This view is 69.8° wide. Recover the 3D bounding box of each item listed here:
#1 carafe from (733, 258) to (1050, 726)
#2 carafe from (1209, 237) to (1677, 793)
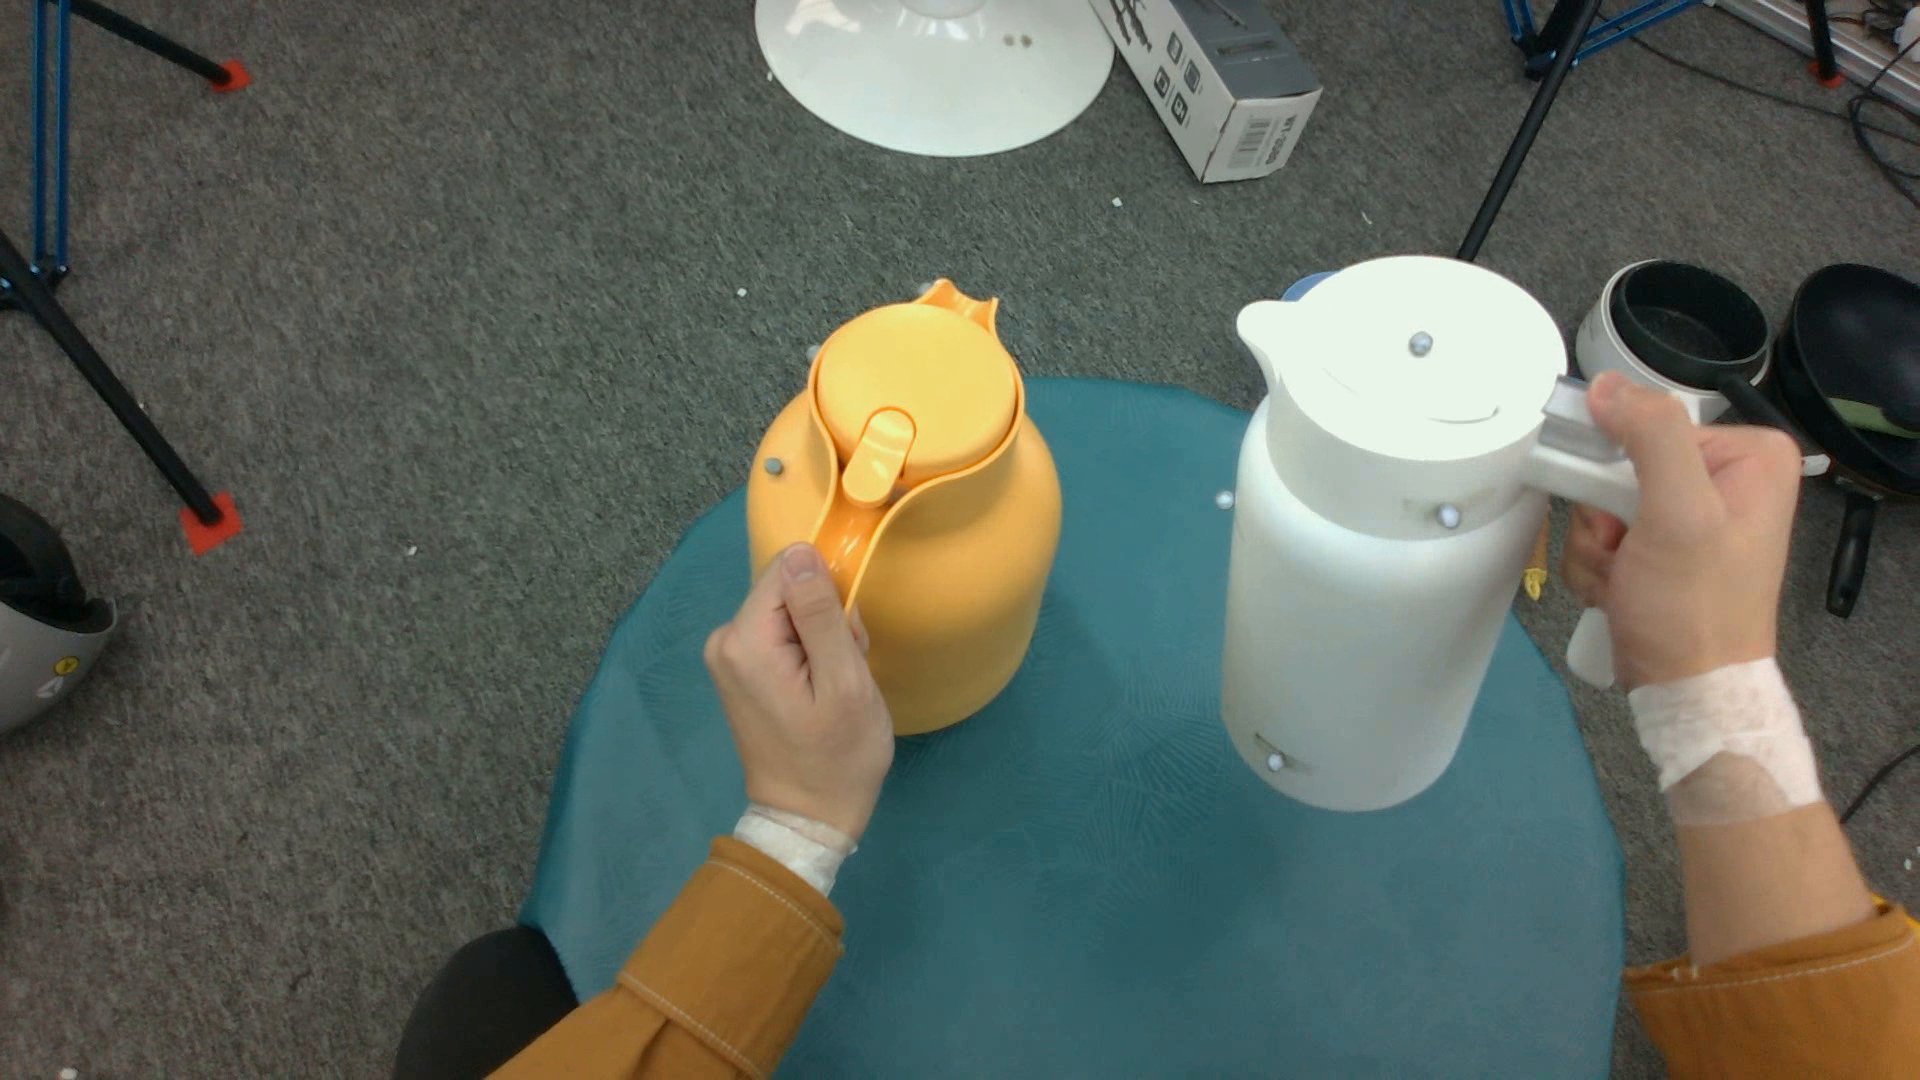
[{"bbox_3d":[-0.045,-0.005,0.700,0.163,0.259,0.203,22,59,8],"label":"carafe"},{"bbox_3d":[0.186,0.007,0.589,0.173,0.267,0.124,21,58,21],"label":"carafe"}]
